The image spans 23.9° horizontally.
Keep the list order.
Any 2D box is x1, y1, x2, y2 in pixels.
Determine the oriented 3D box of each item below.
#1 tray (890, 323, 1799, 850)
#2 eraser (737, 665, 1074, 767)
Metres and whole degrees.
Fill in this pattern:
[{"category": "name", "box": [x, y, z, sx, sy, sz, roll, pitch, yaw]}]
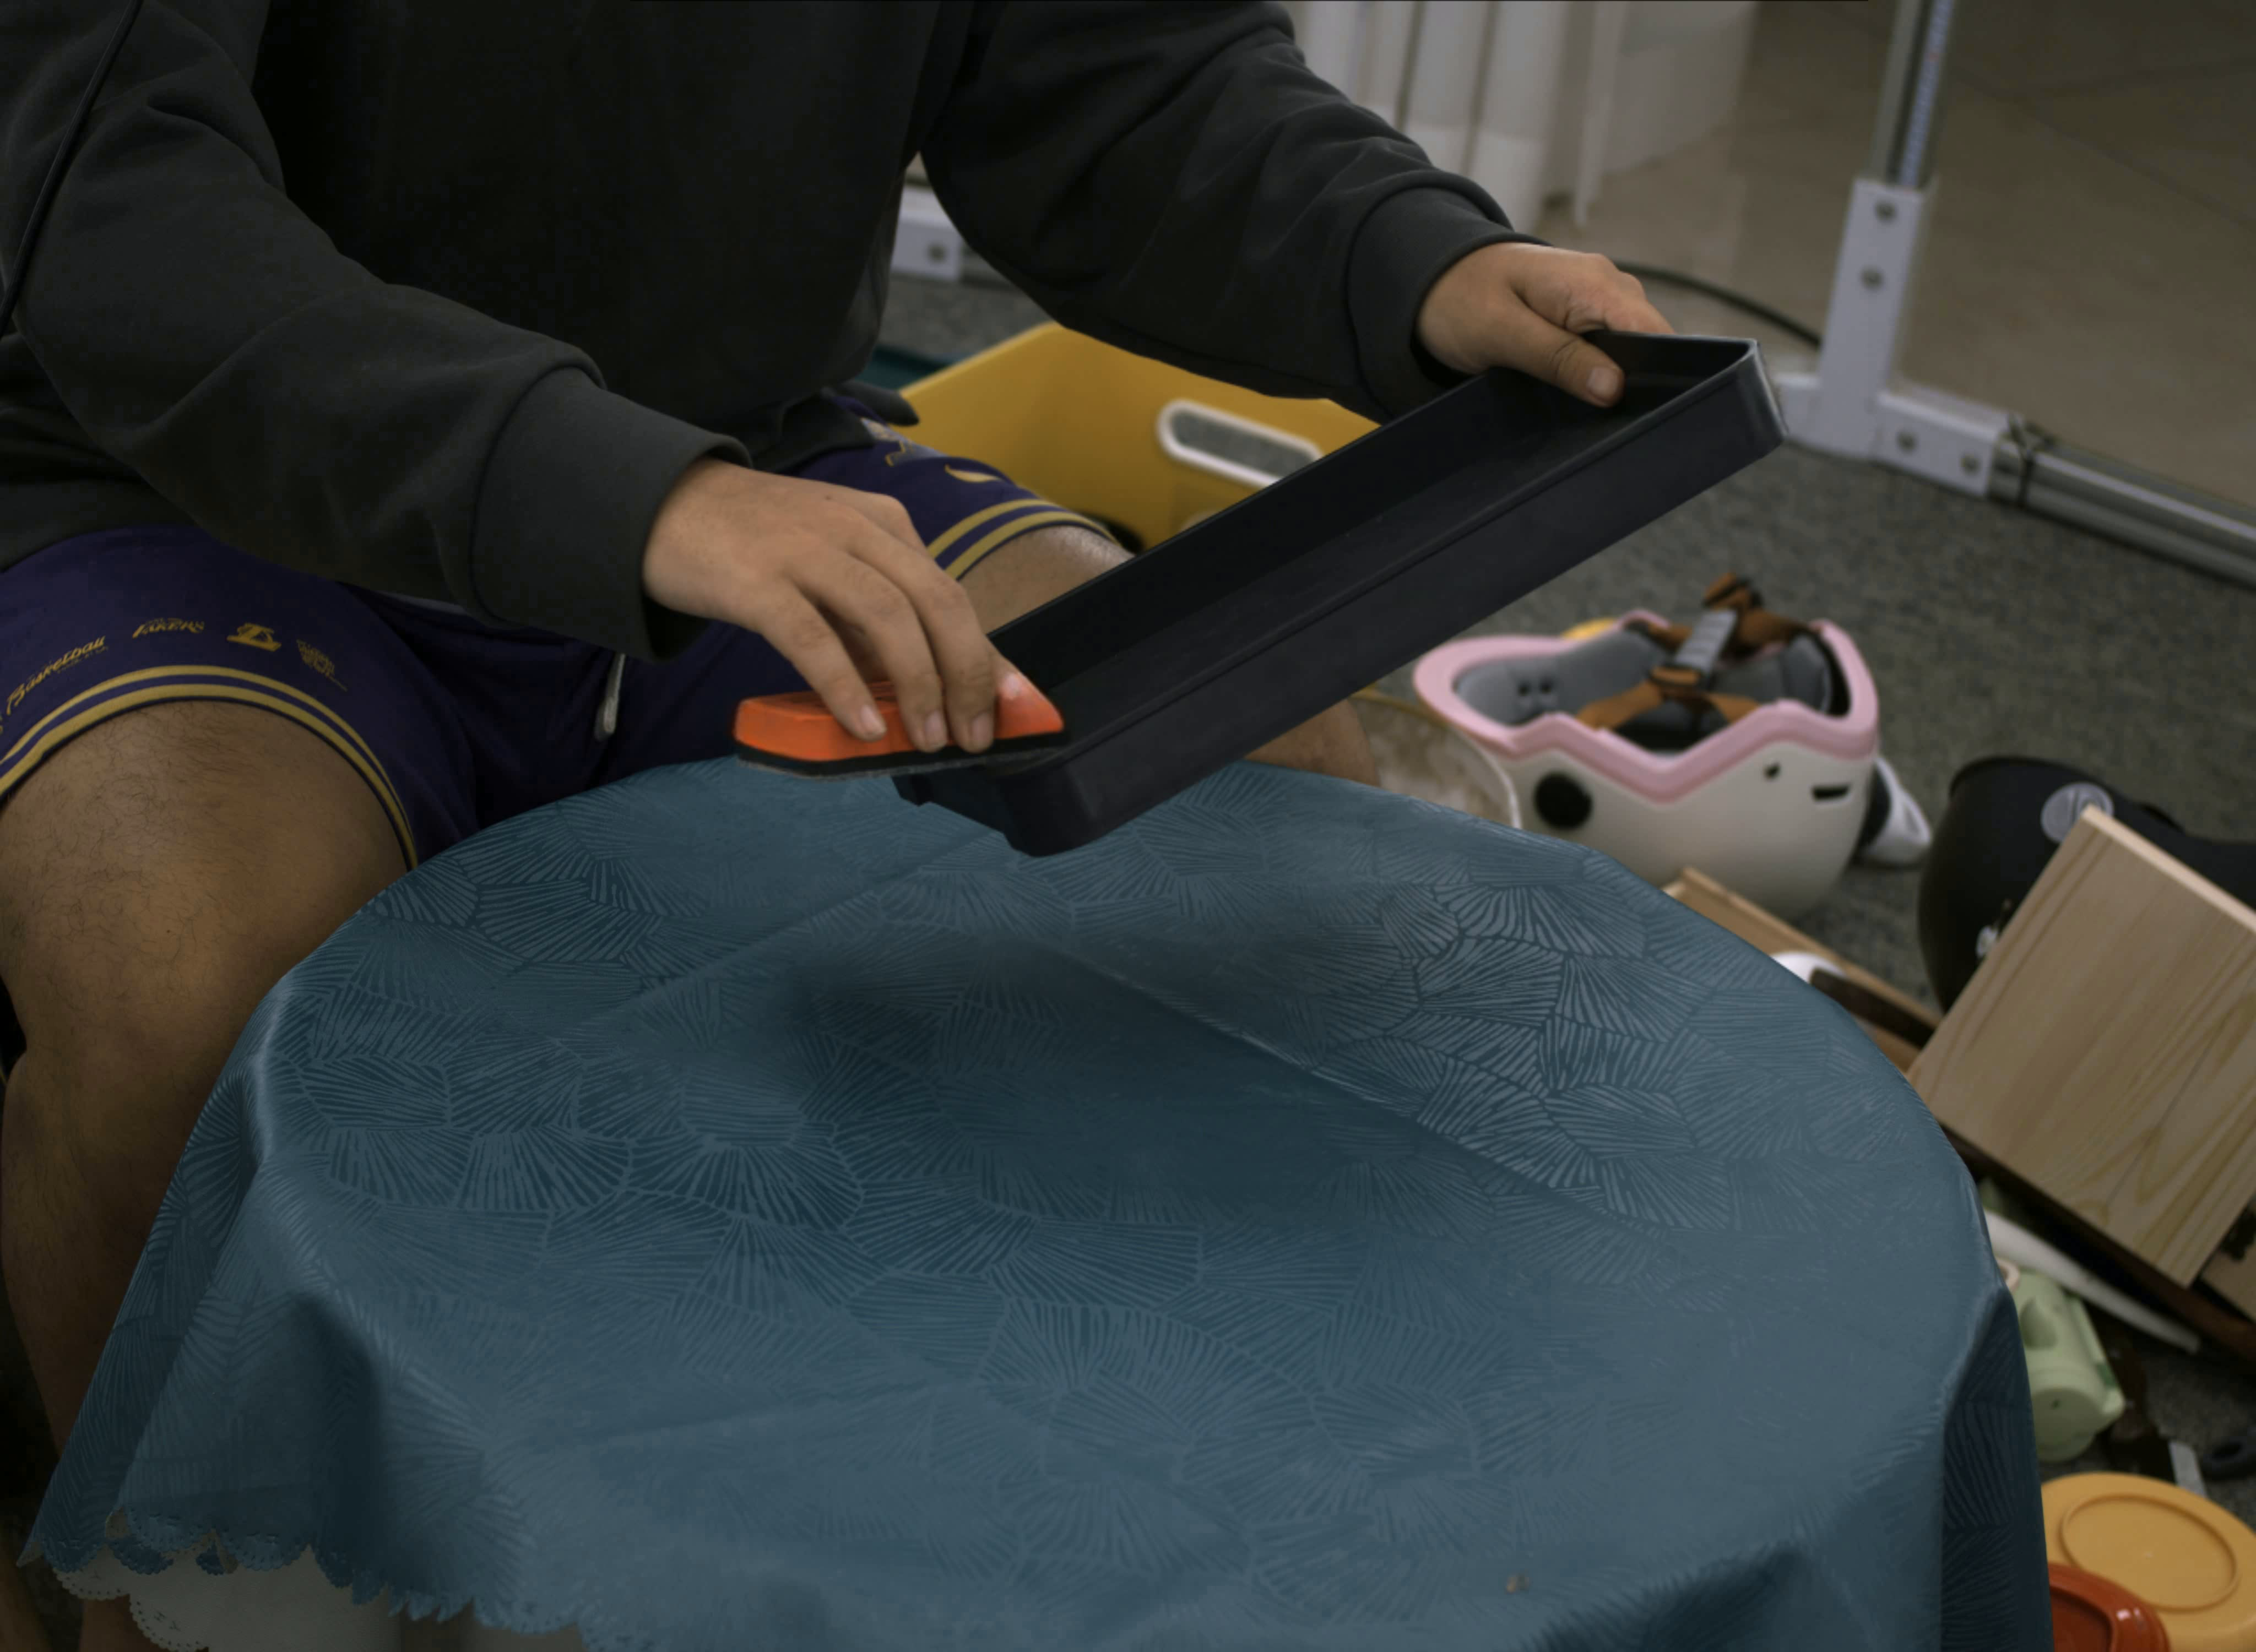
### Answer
[{"category": "tray", "box": [0.072, -0.089, 1.882, 0.317, 0.037, 0.185, -31, 15, -15]}, {"category": "eraser", "box": [-0.075, -0.037, 1.802, 0.107, 0.023, 0.059, -9, 4, -33]}]
